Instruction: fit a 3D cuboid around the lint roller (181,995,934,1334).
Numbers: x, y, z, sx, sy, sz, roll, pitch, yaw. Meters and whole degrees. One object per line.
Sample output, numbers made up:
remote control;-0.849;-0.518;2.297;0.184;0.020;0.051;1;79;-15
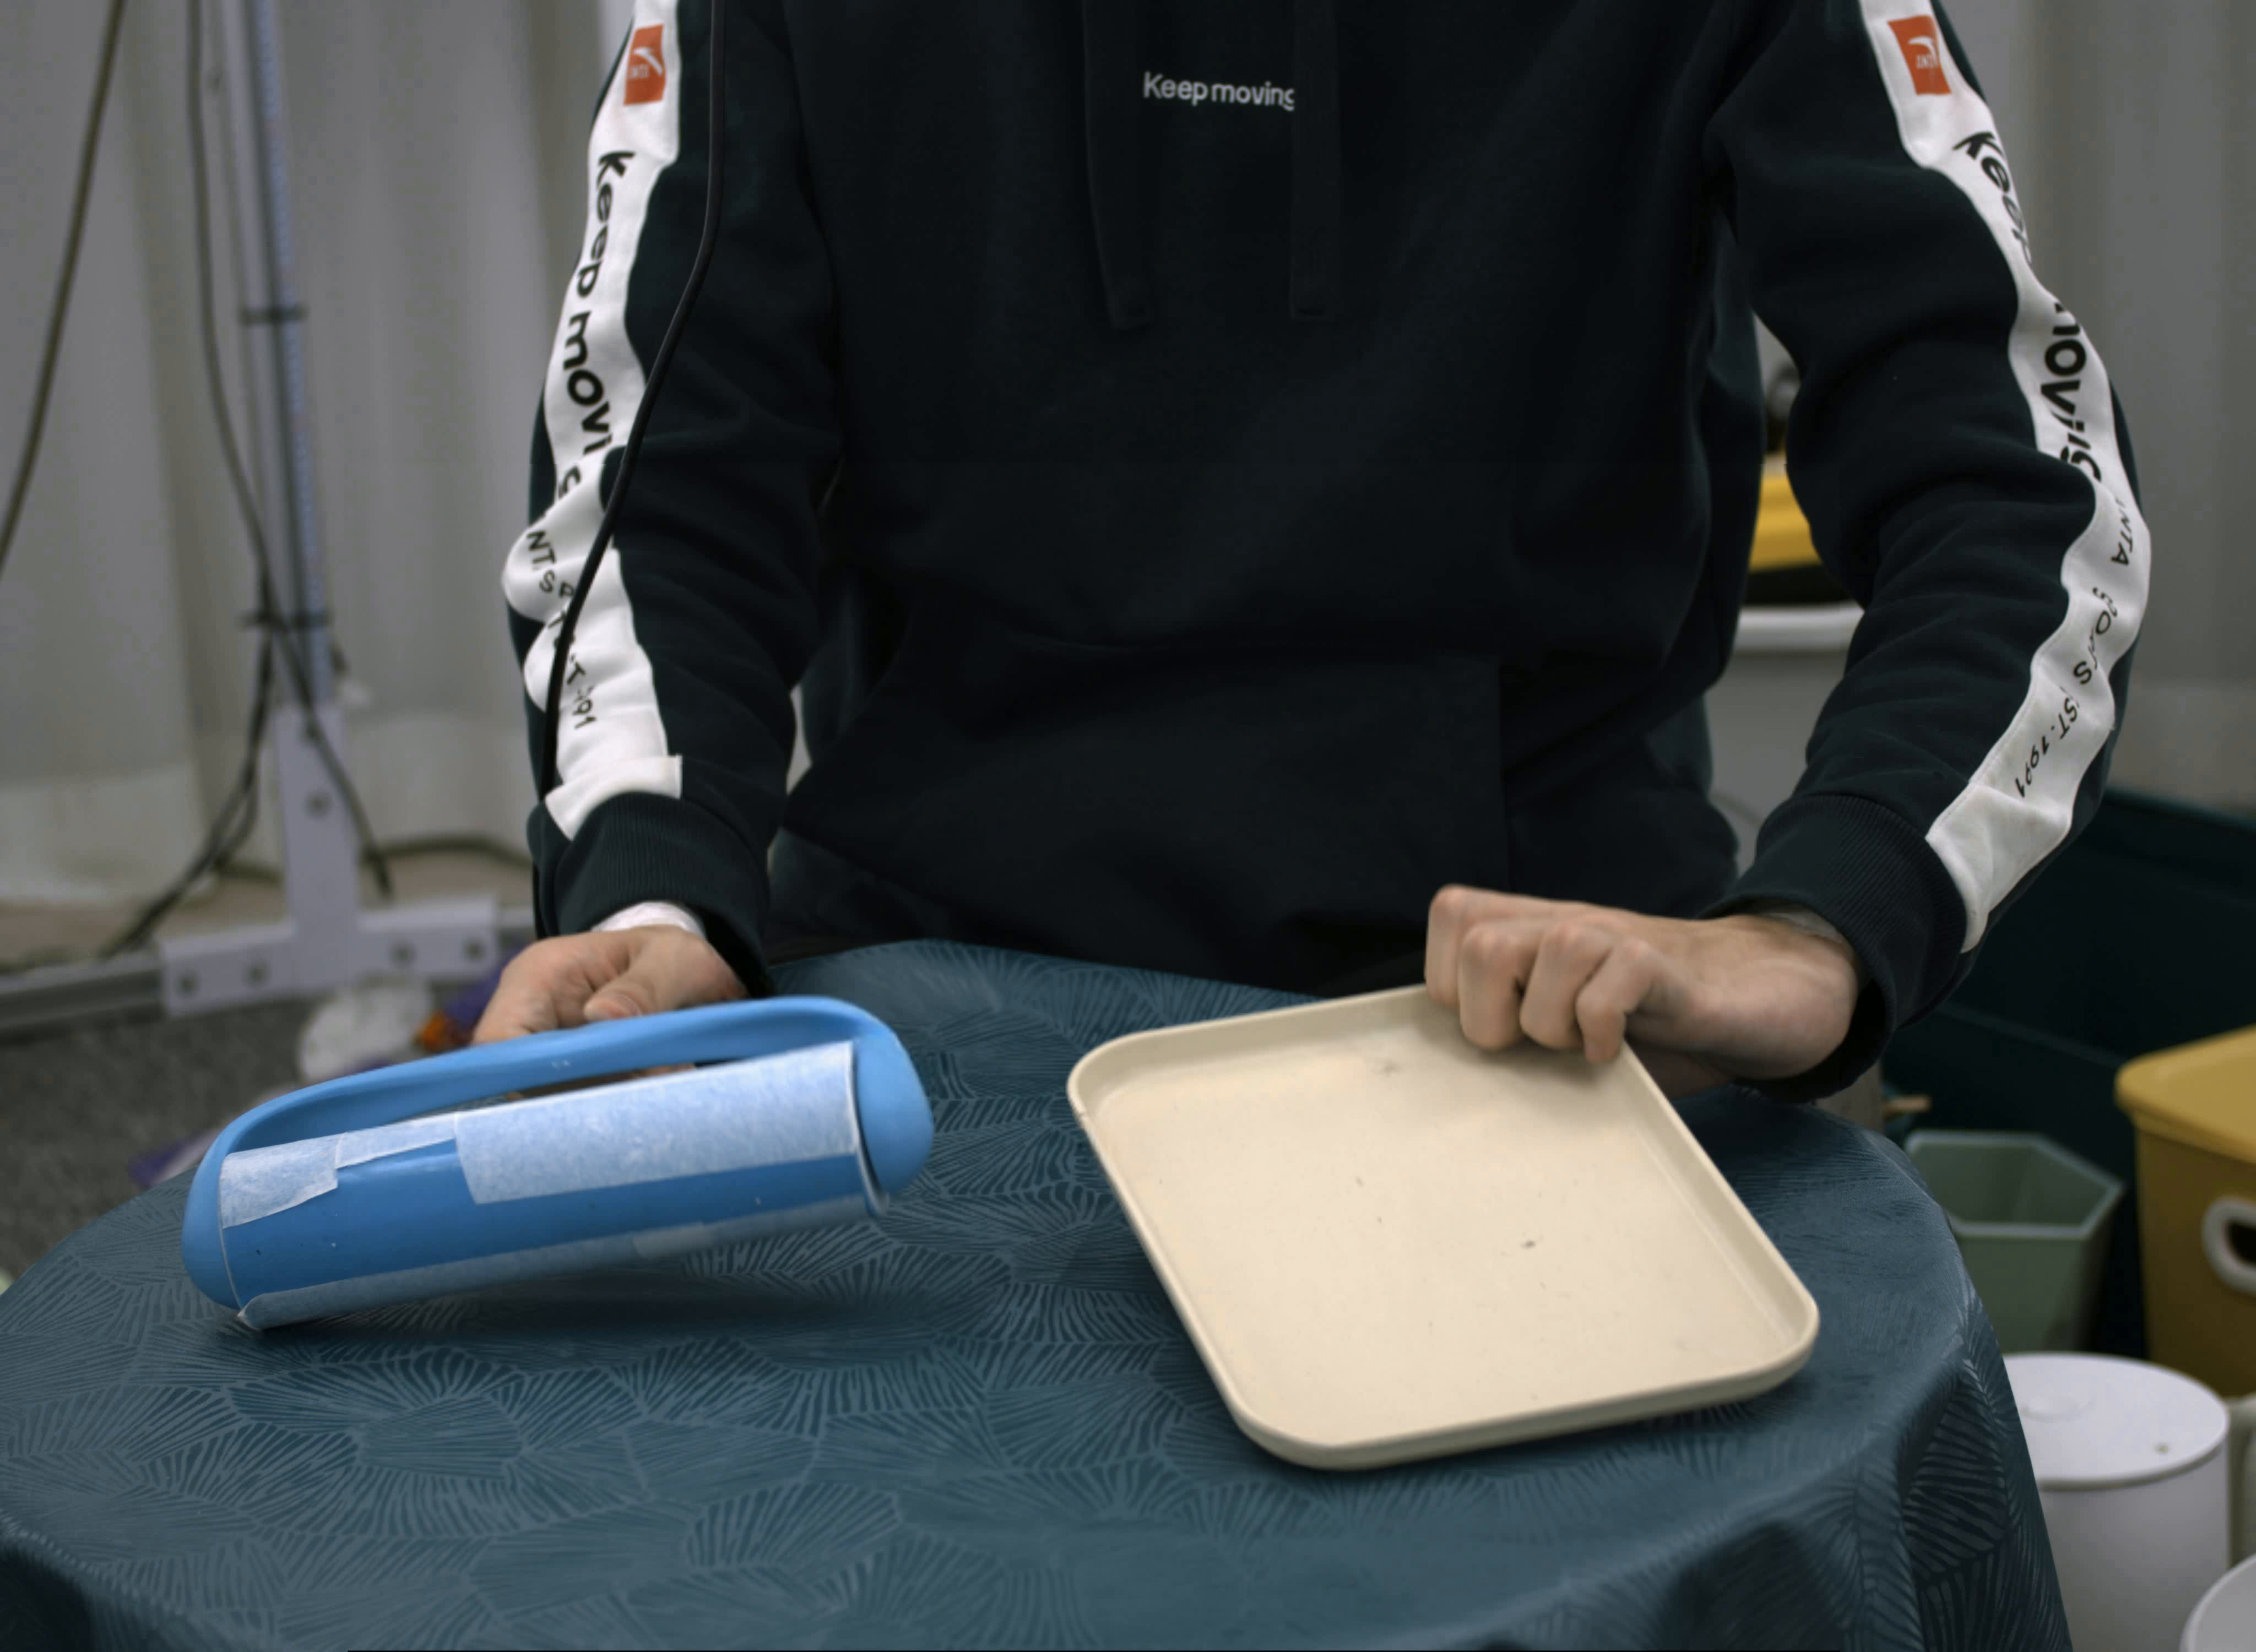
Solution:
lint roller;-0.169;0.093;1.677;0.228;0.068;0.181;-13;11;3

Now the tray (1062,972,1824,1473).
tray;0.087;0.112;1.582;0.170;0.017;0.243;-9;28;-13
